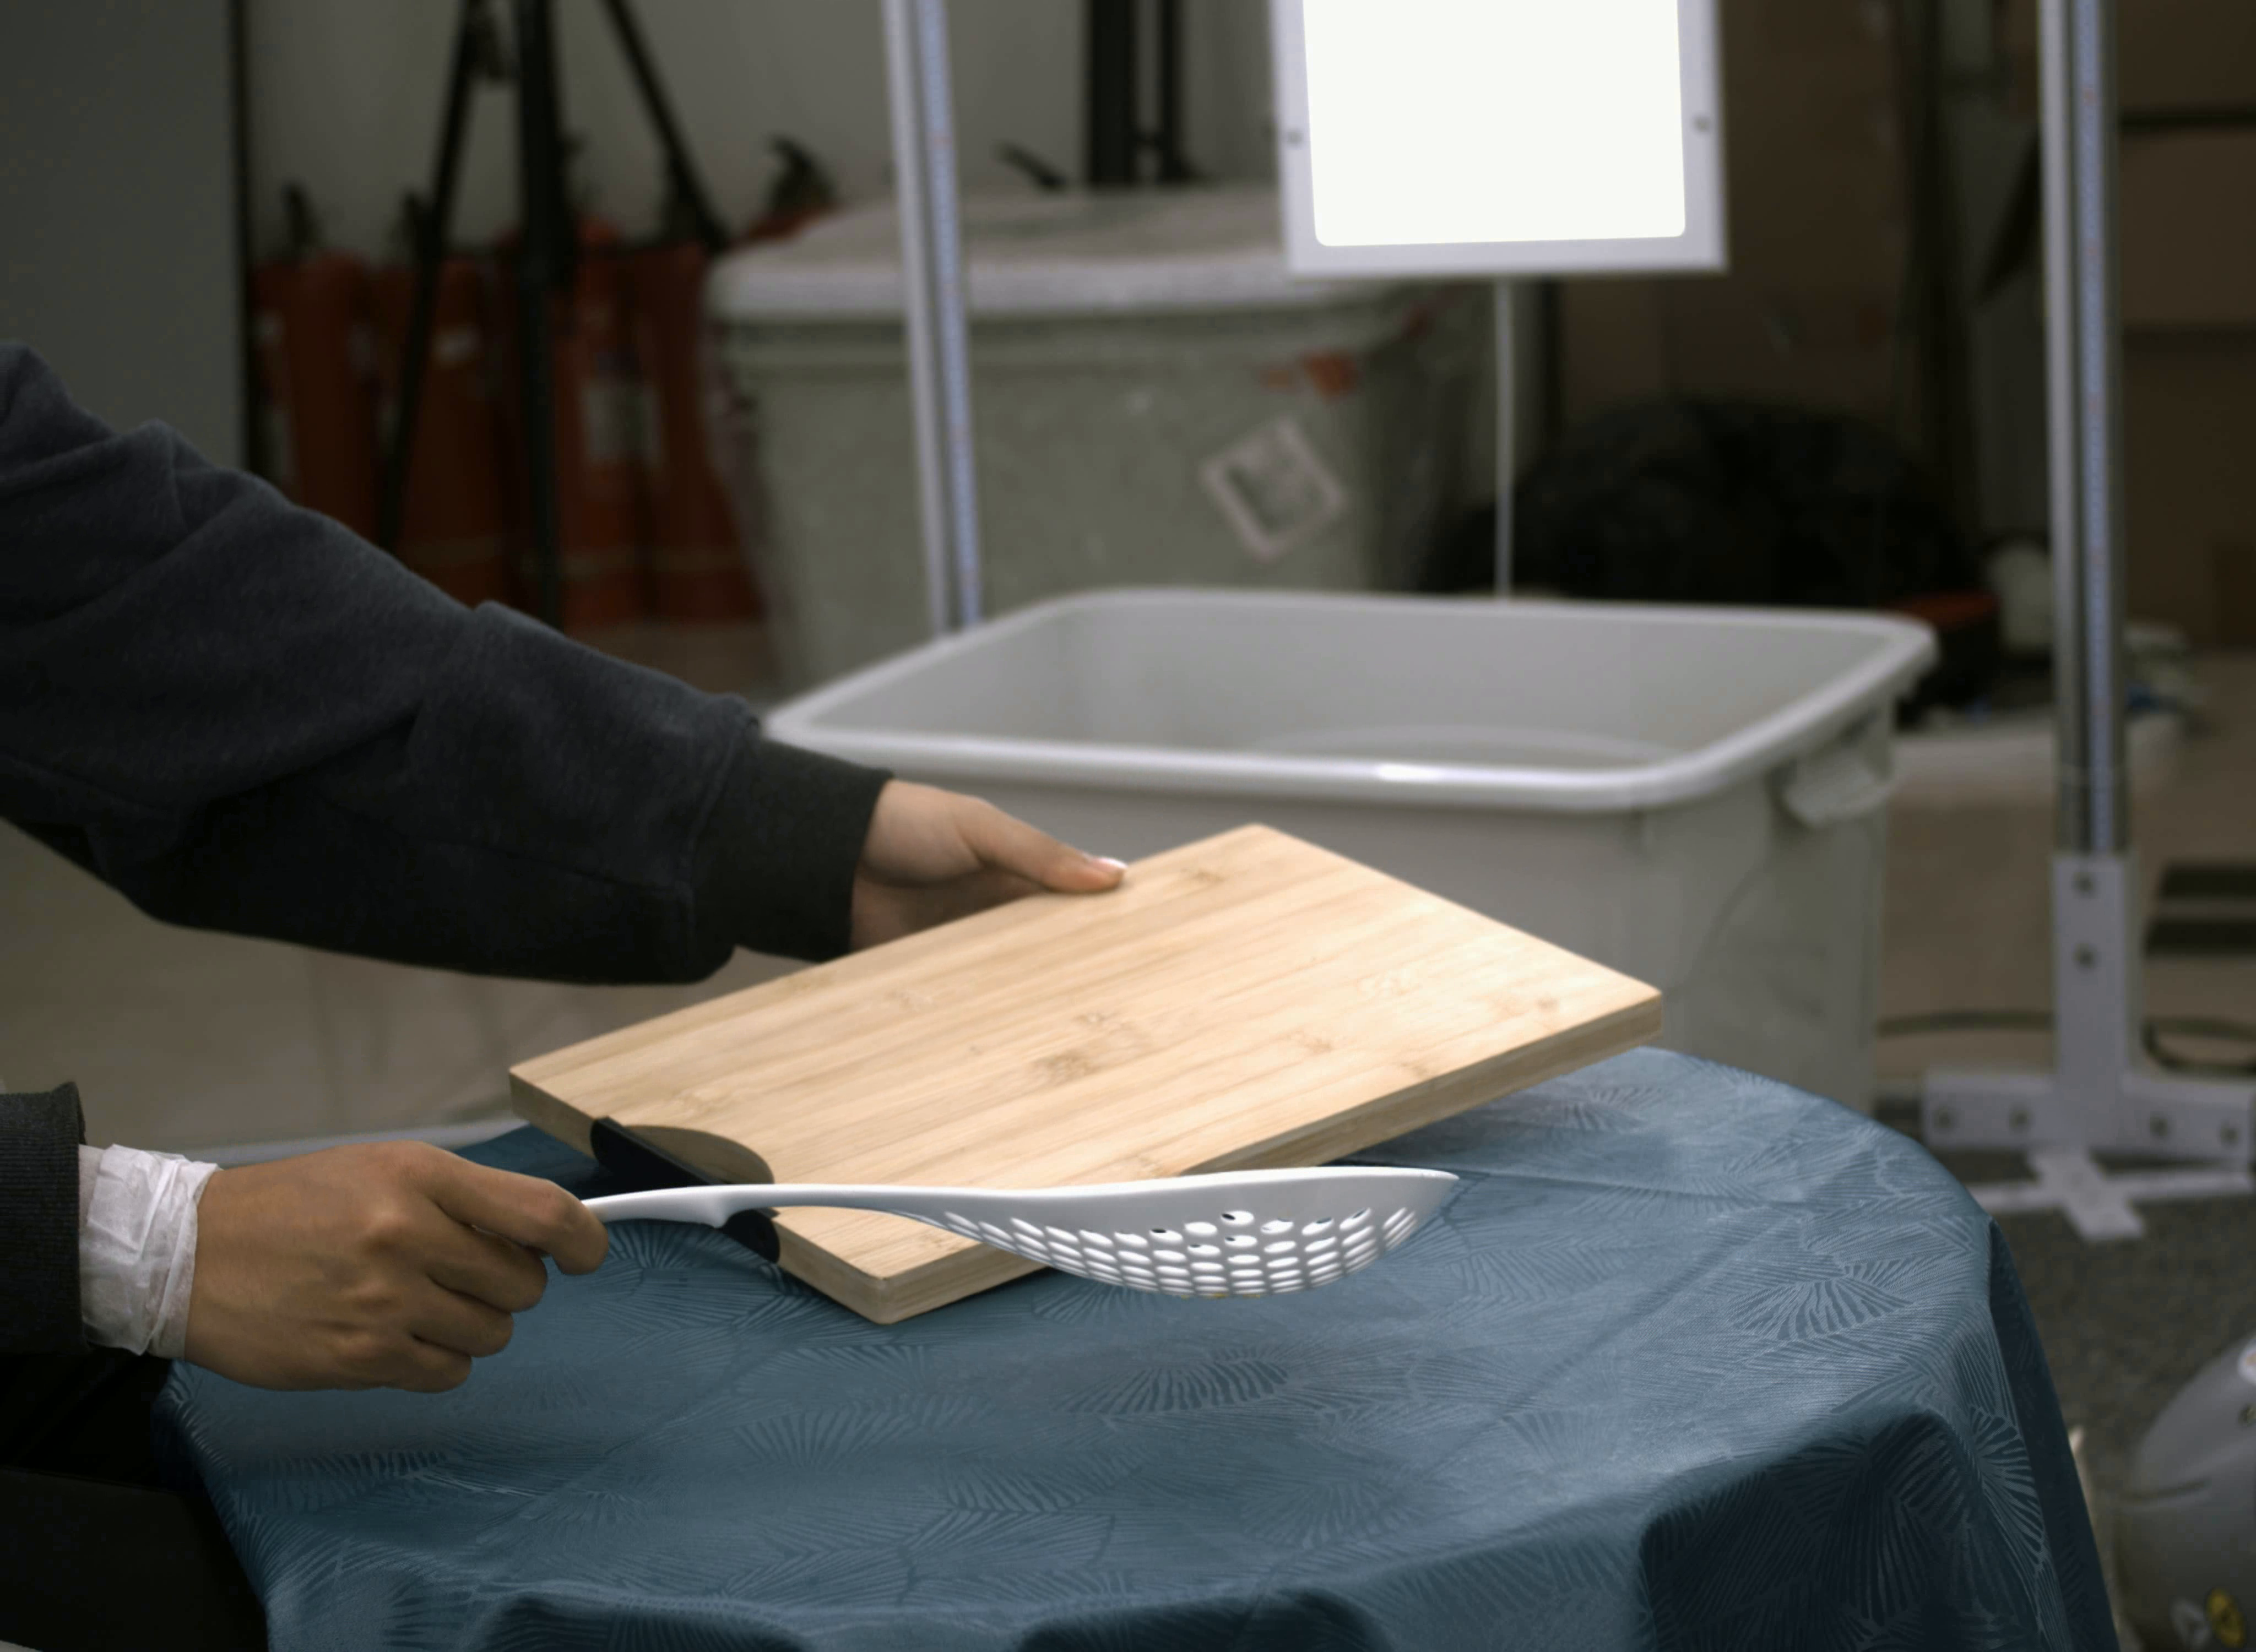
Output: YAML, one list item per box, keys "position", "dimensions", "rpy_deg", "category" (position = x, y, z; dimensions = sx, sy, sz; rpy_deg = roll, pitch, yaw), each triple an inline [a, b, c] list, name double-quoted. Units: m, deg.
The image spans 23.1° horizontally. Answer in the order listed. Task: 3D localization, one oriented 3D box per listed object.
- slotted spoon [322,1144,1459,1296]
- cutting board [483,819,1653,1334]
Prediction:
- position: [-0.073, 0.121, 1.686]
  dimensions: [0.348, 0.050, 0.136]
  rpy_deg: [1, -2, 5]
  category: "slotted spoon"
- position: [-0.019, 0.082, 1.955]
  dimensions: [0.340, 0.023, 0.255]
  rpy_deg: [-19, 25, -32]
  category: "cutting board"
